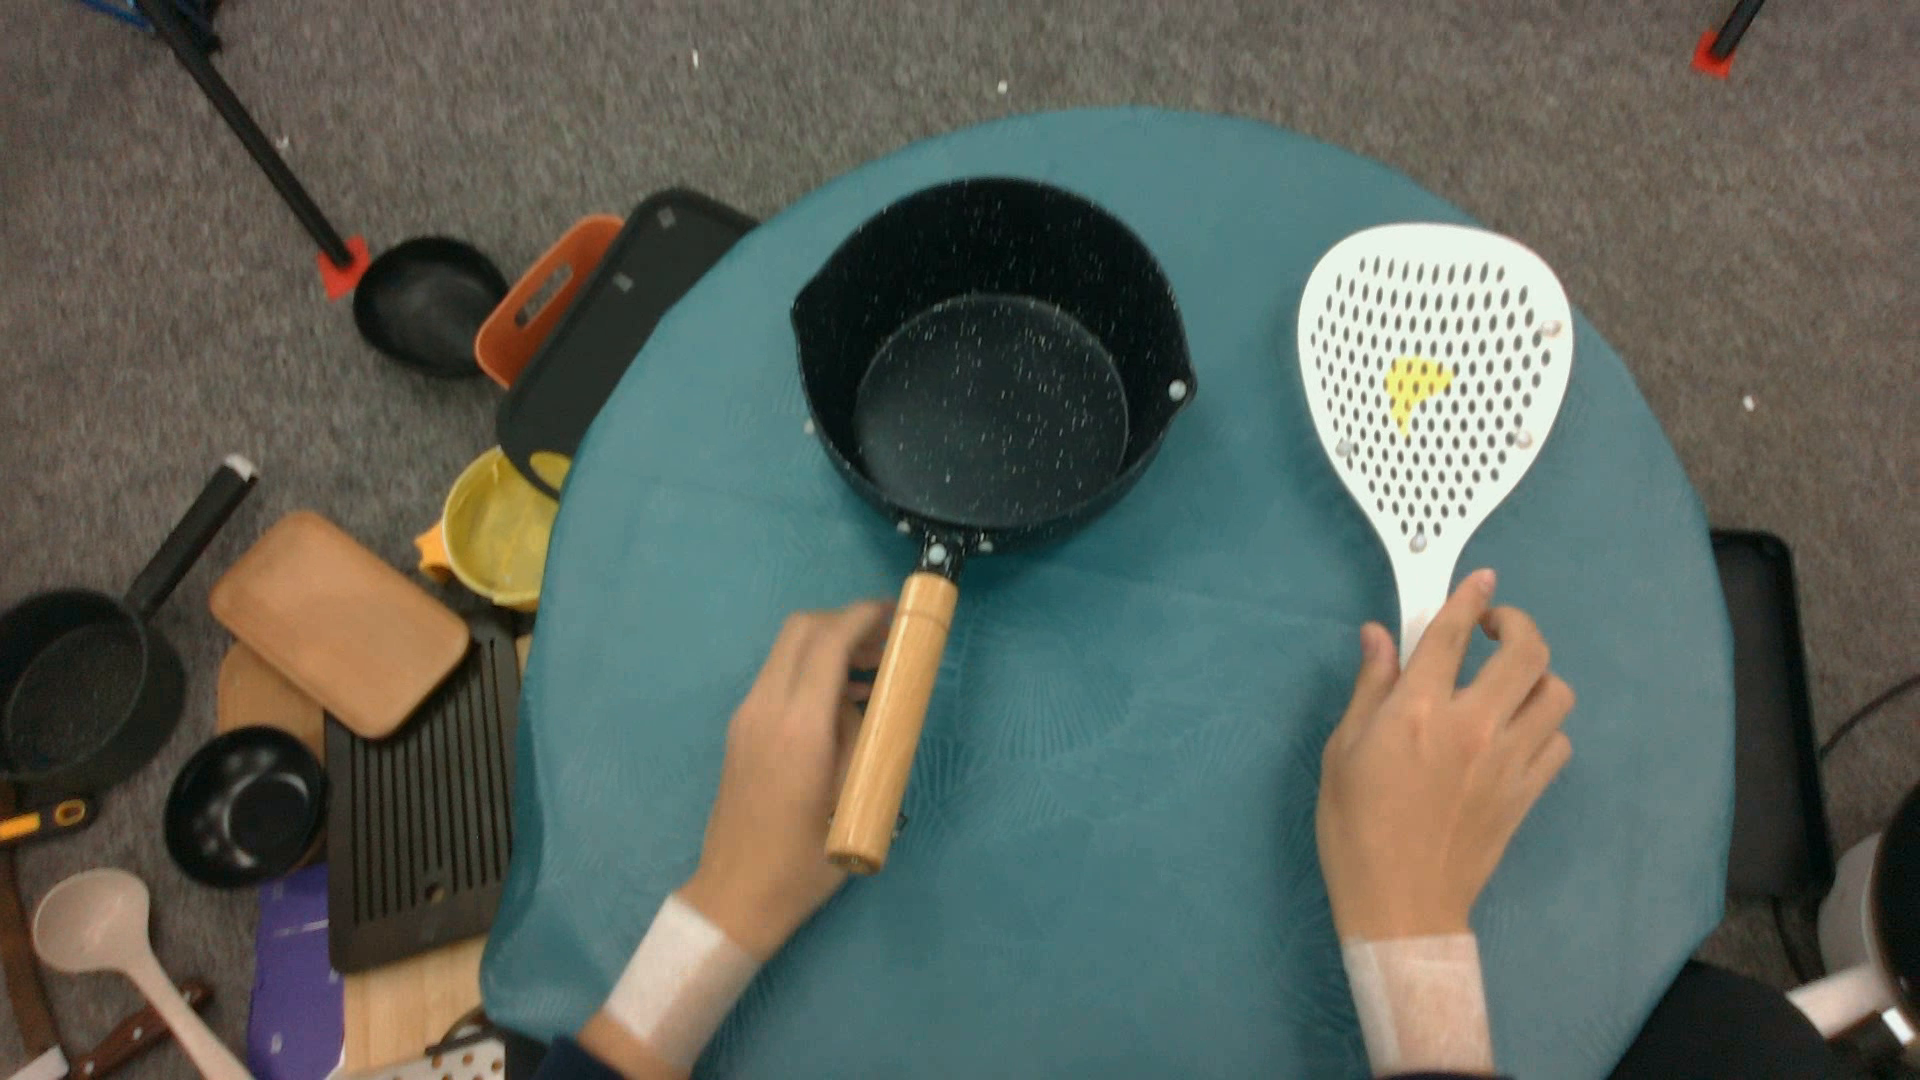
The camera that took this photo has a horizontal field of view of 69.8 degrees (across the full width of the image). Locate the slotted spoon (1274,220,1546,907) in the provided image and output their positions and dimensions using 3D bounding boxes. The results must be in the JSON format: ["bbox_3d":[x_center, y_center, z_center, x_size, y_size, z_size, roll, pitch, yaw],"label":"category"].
[{"bbox_3d":[0.222,0.000,0.682,0.137,0.050,0.349,4,68,4],"label":"slotted spoon"}]

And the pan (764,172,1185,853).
[{"bbox_3d":[-0.009,-0.014,0.656,0.207,0.108,0.344,11,68,4],"label":"pan"}]
